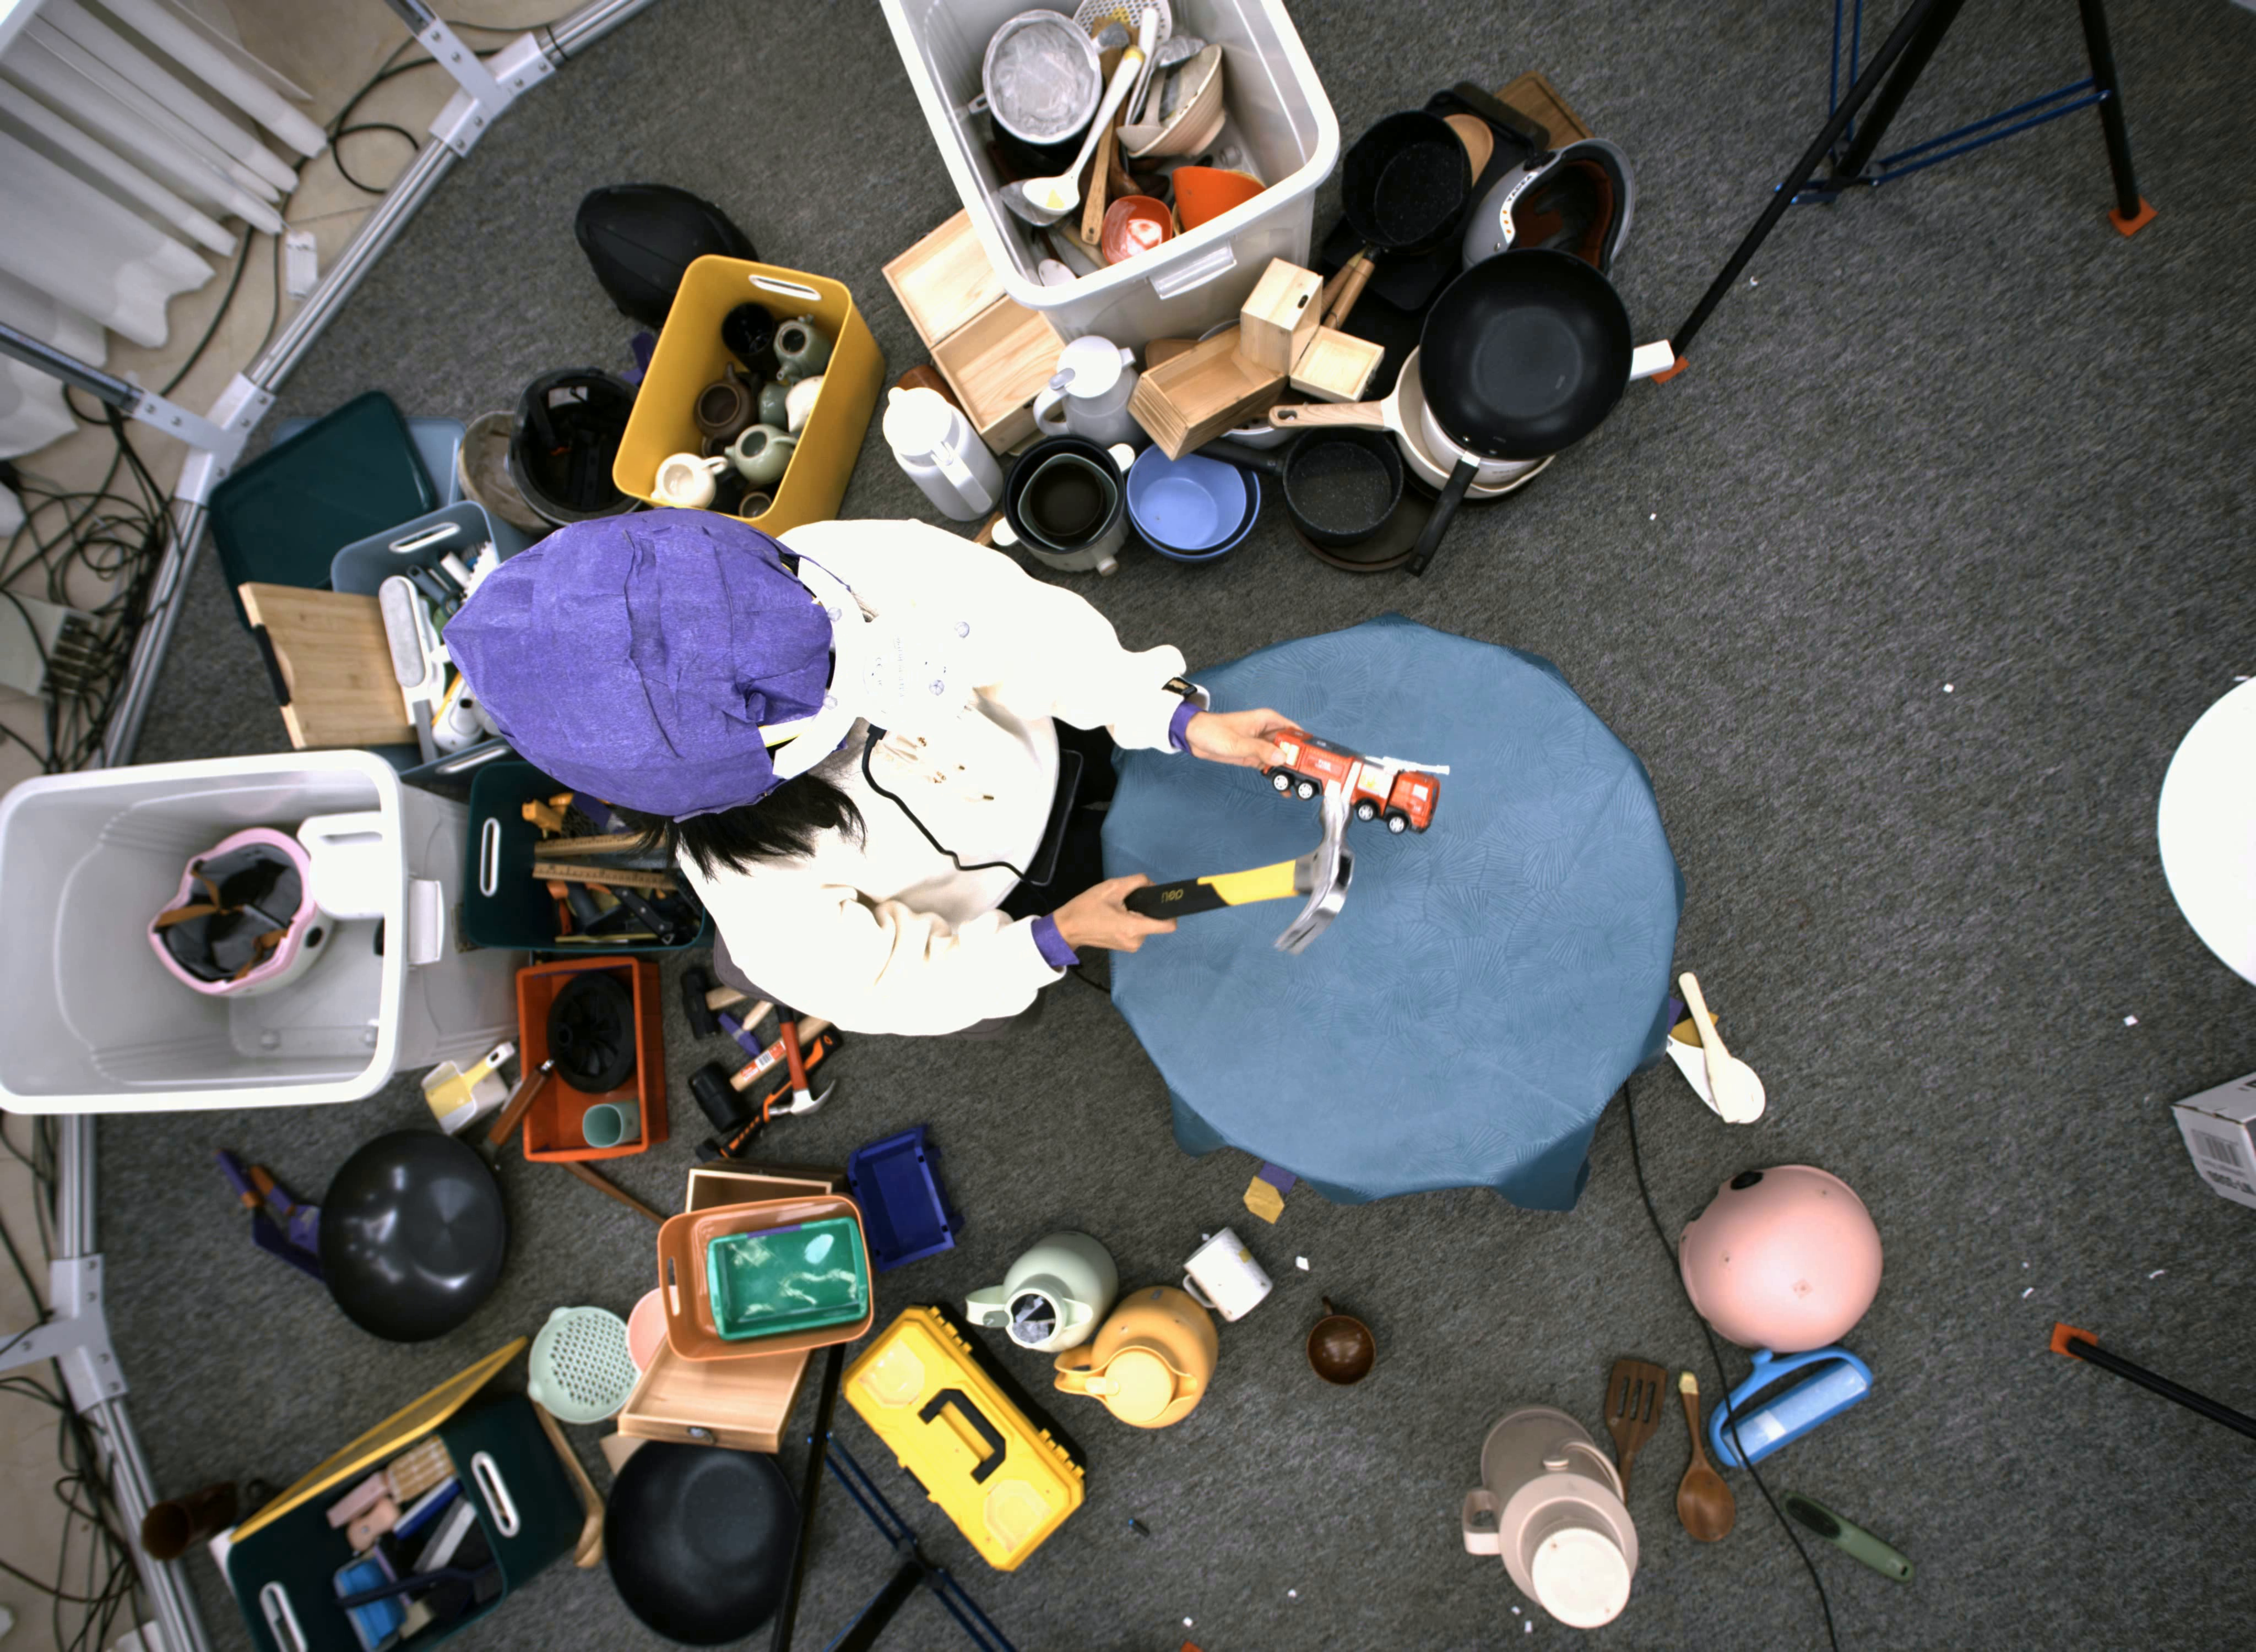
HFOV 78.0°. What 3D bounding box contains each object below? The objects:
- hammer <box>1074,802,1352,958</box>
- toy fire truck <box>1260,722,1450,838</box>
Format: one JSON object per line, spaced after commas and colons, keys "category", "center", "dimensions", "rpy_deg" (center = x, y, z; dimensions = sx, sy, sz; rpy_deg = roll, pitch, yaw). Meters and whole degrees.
{"category": "hammer", "center": [0.066, 0.064, 1.299], "dimensions": [0.342, 0.032, 0.129], "rpy_deg": [-10, 66, 47]}
{"category": "toy fire truck", "center": [0.209, -0.047, 1.281], "dimensions": [0.168, 0.053, 0.071], "rpy_deg": [20, 110, 18]}
